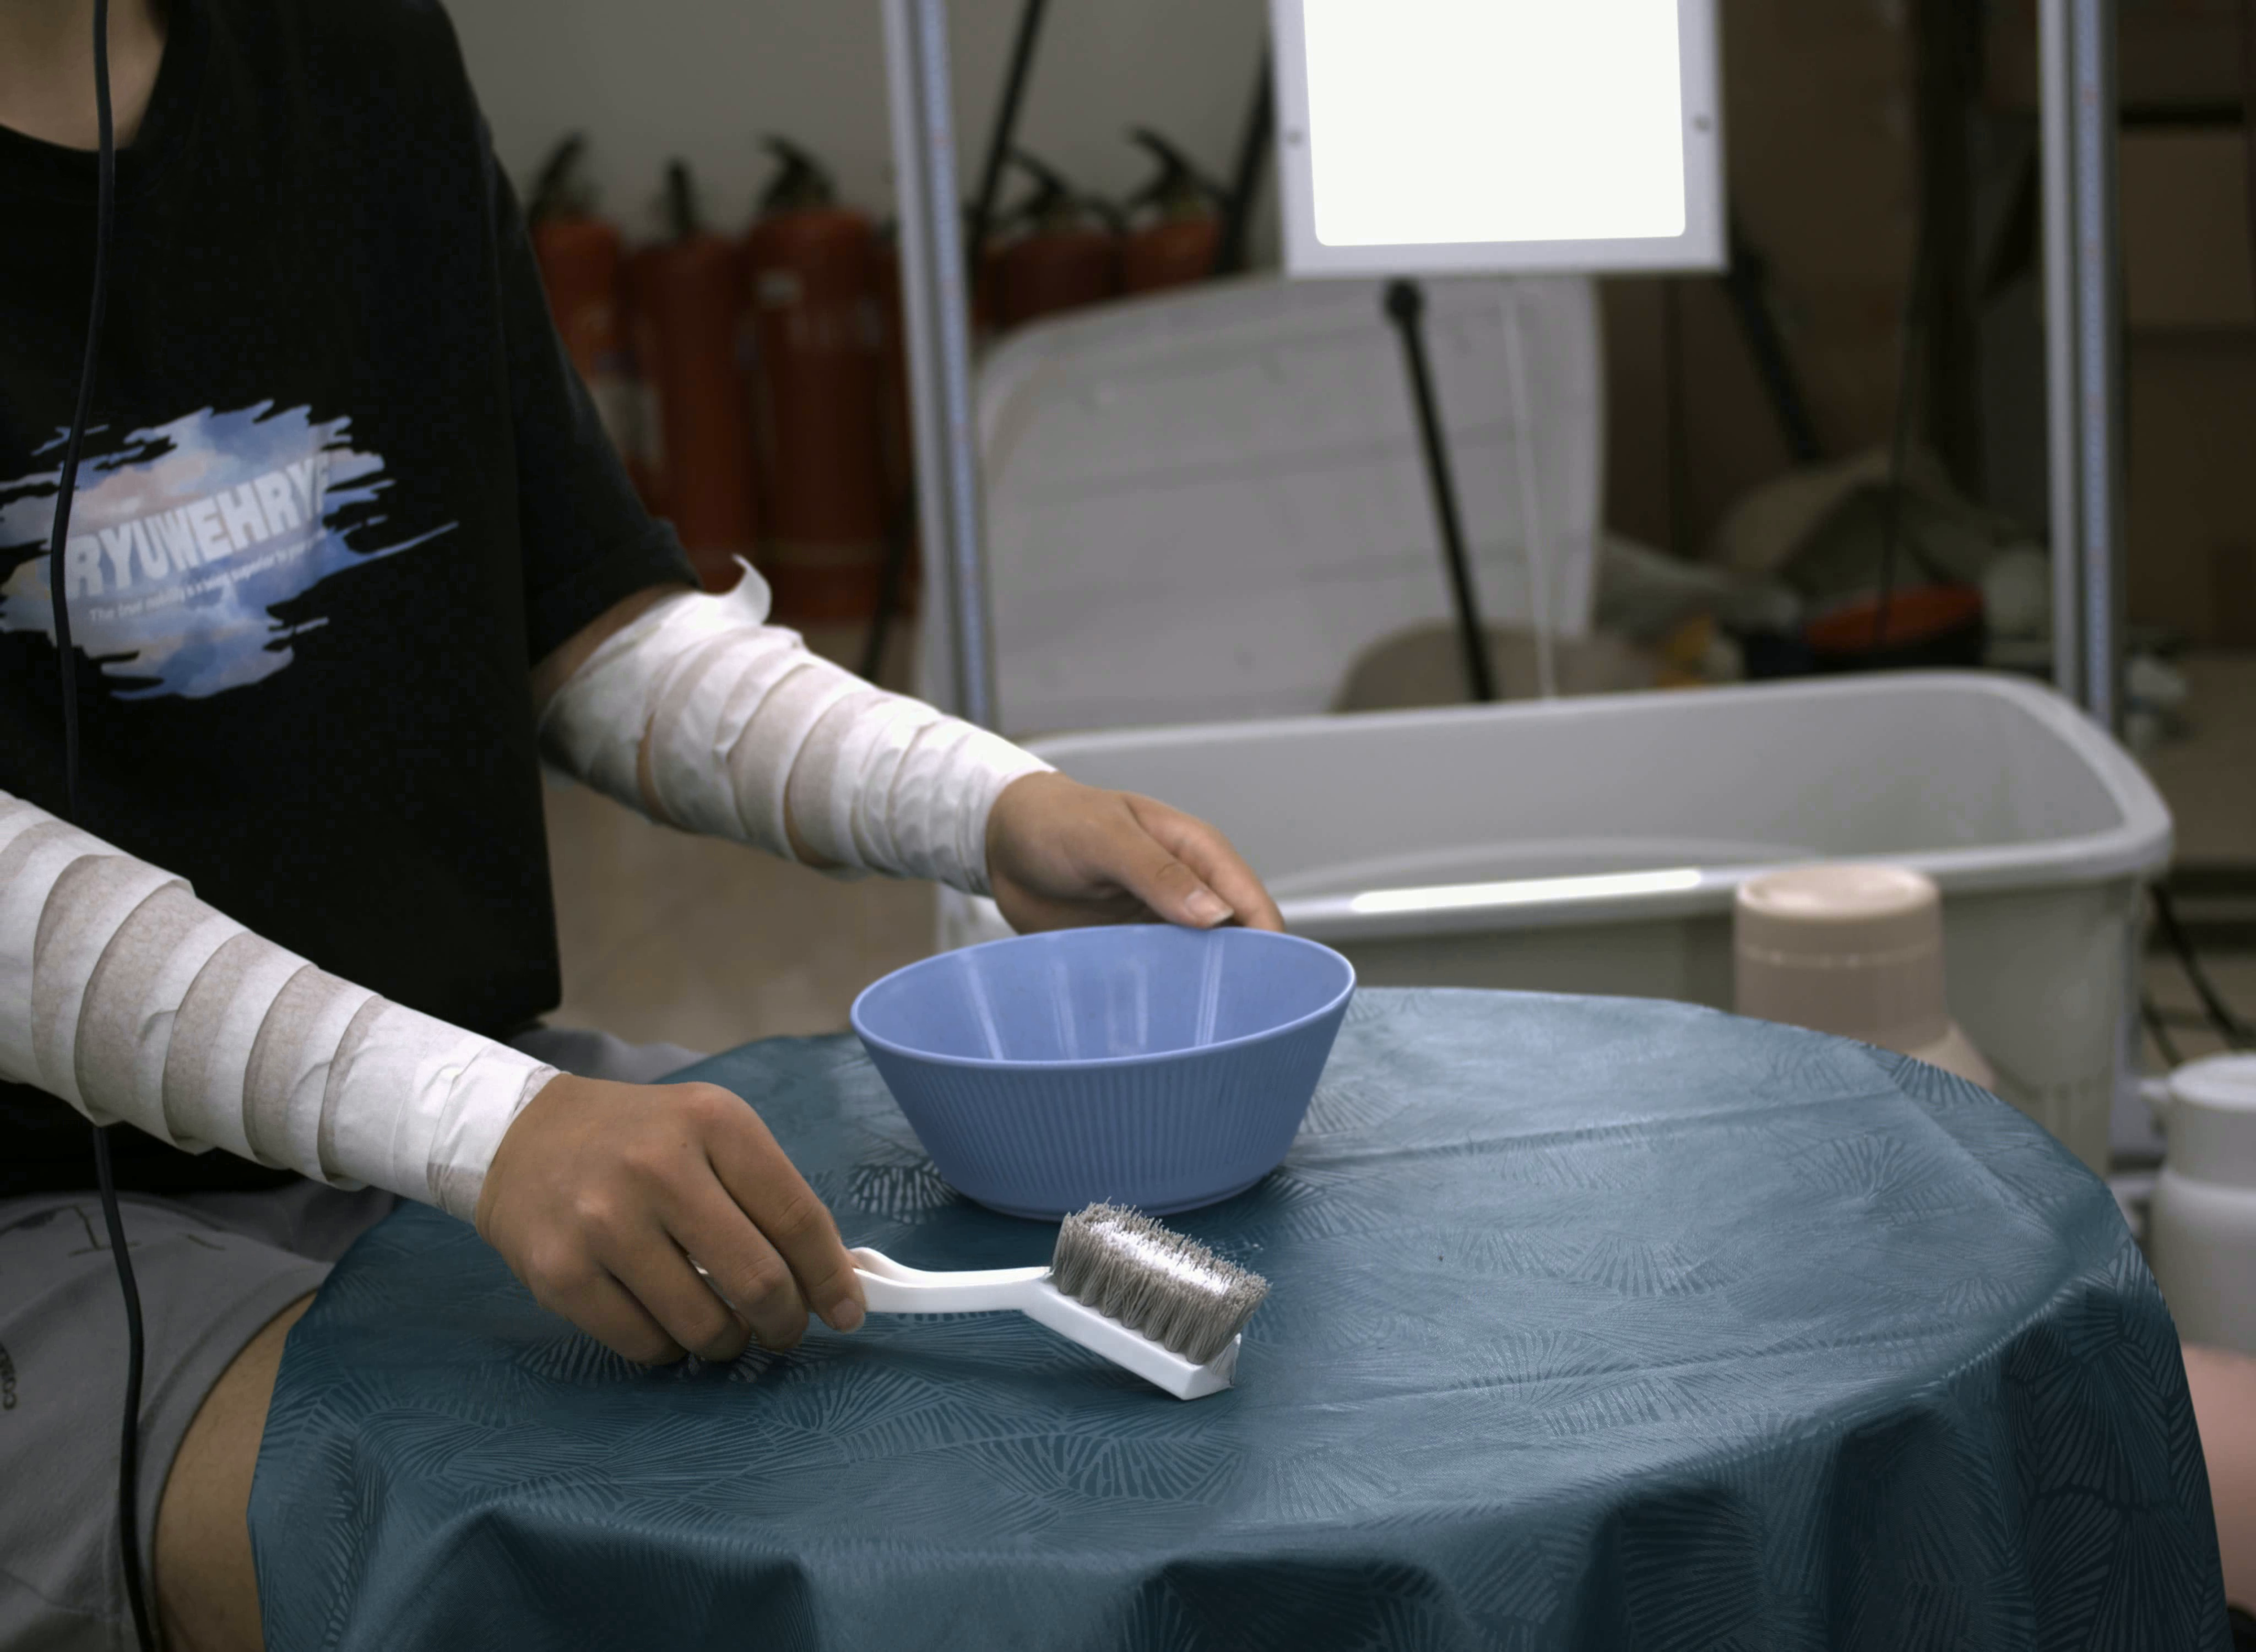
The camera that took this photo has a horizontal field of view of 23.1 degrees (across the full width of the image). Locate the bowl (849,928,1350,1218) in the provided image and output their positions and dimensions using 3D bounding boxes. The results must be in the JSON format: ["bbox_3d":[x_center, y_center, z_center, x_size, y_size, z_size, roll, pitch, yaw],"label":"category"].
[{"bbox_3d":[-0.008,0.088,1.910,0.175,0.070,0.176,-5,13,0],"label":"bowl"}]

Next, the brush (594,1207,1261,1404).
[{"bbox_3d":[-0.069,0.134,1.745,0.248,0.050,0.033,10,20,32],"label":"brush"}]
